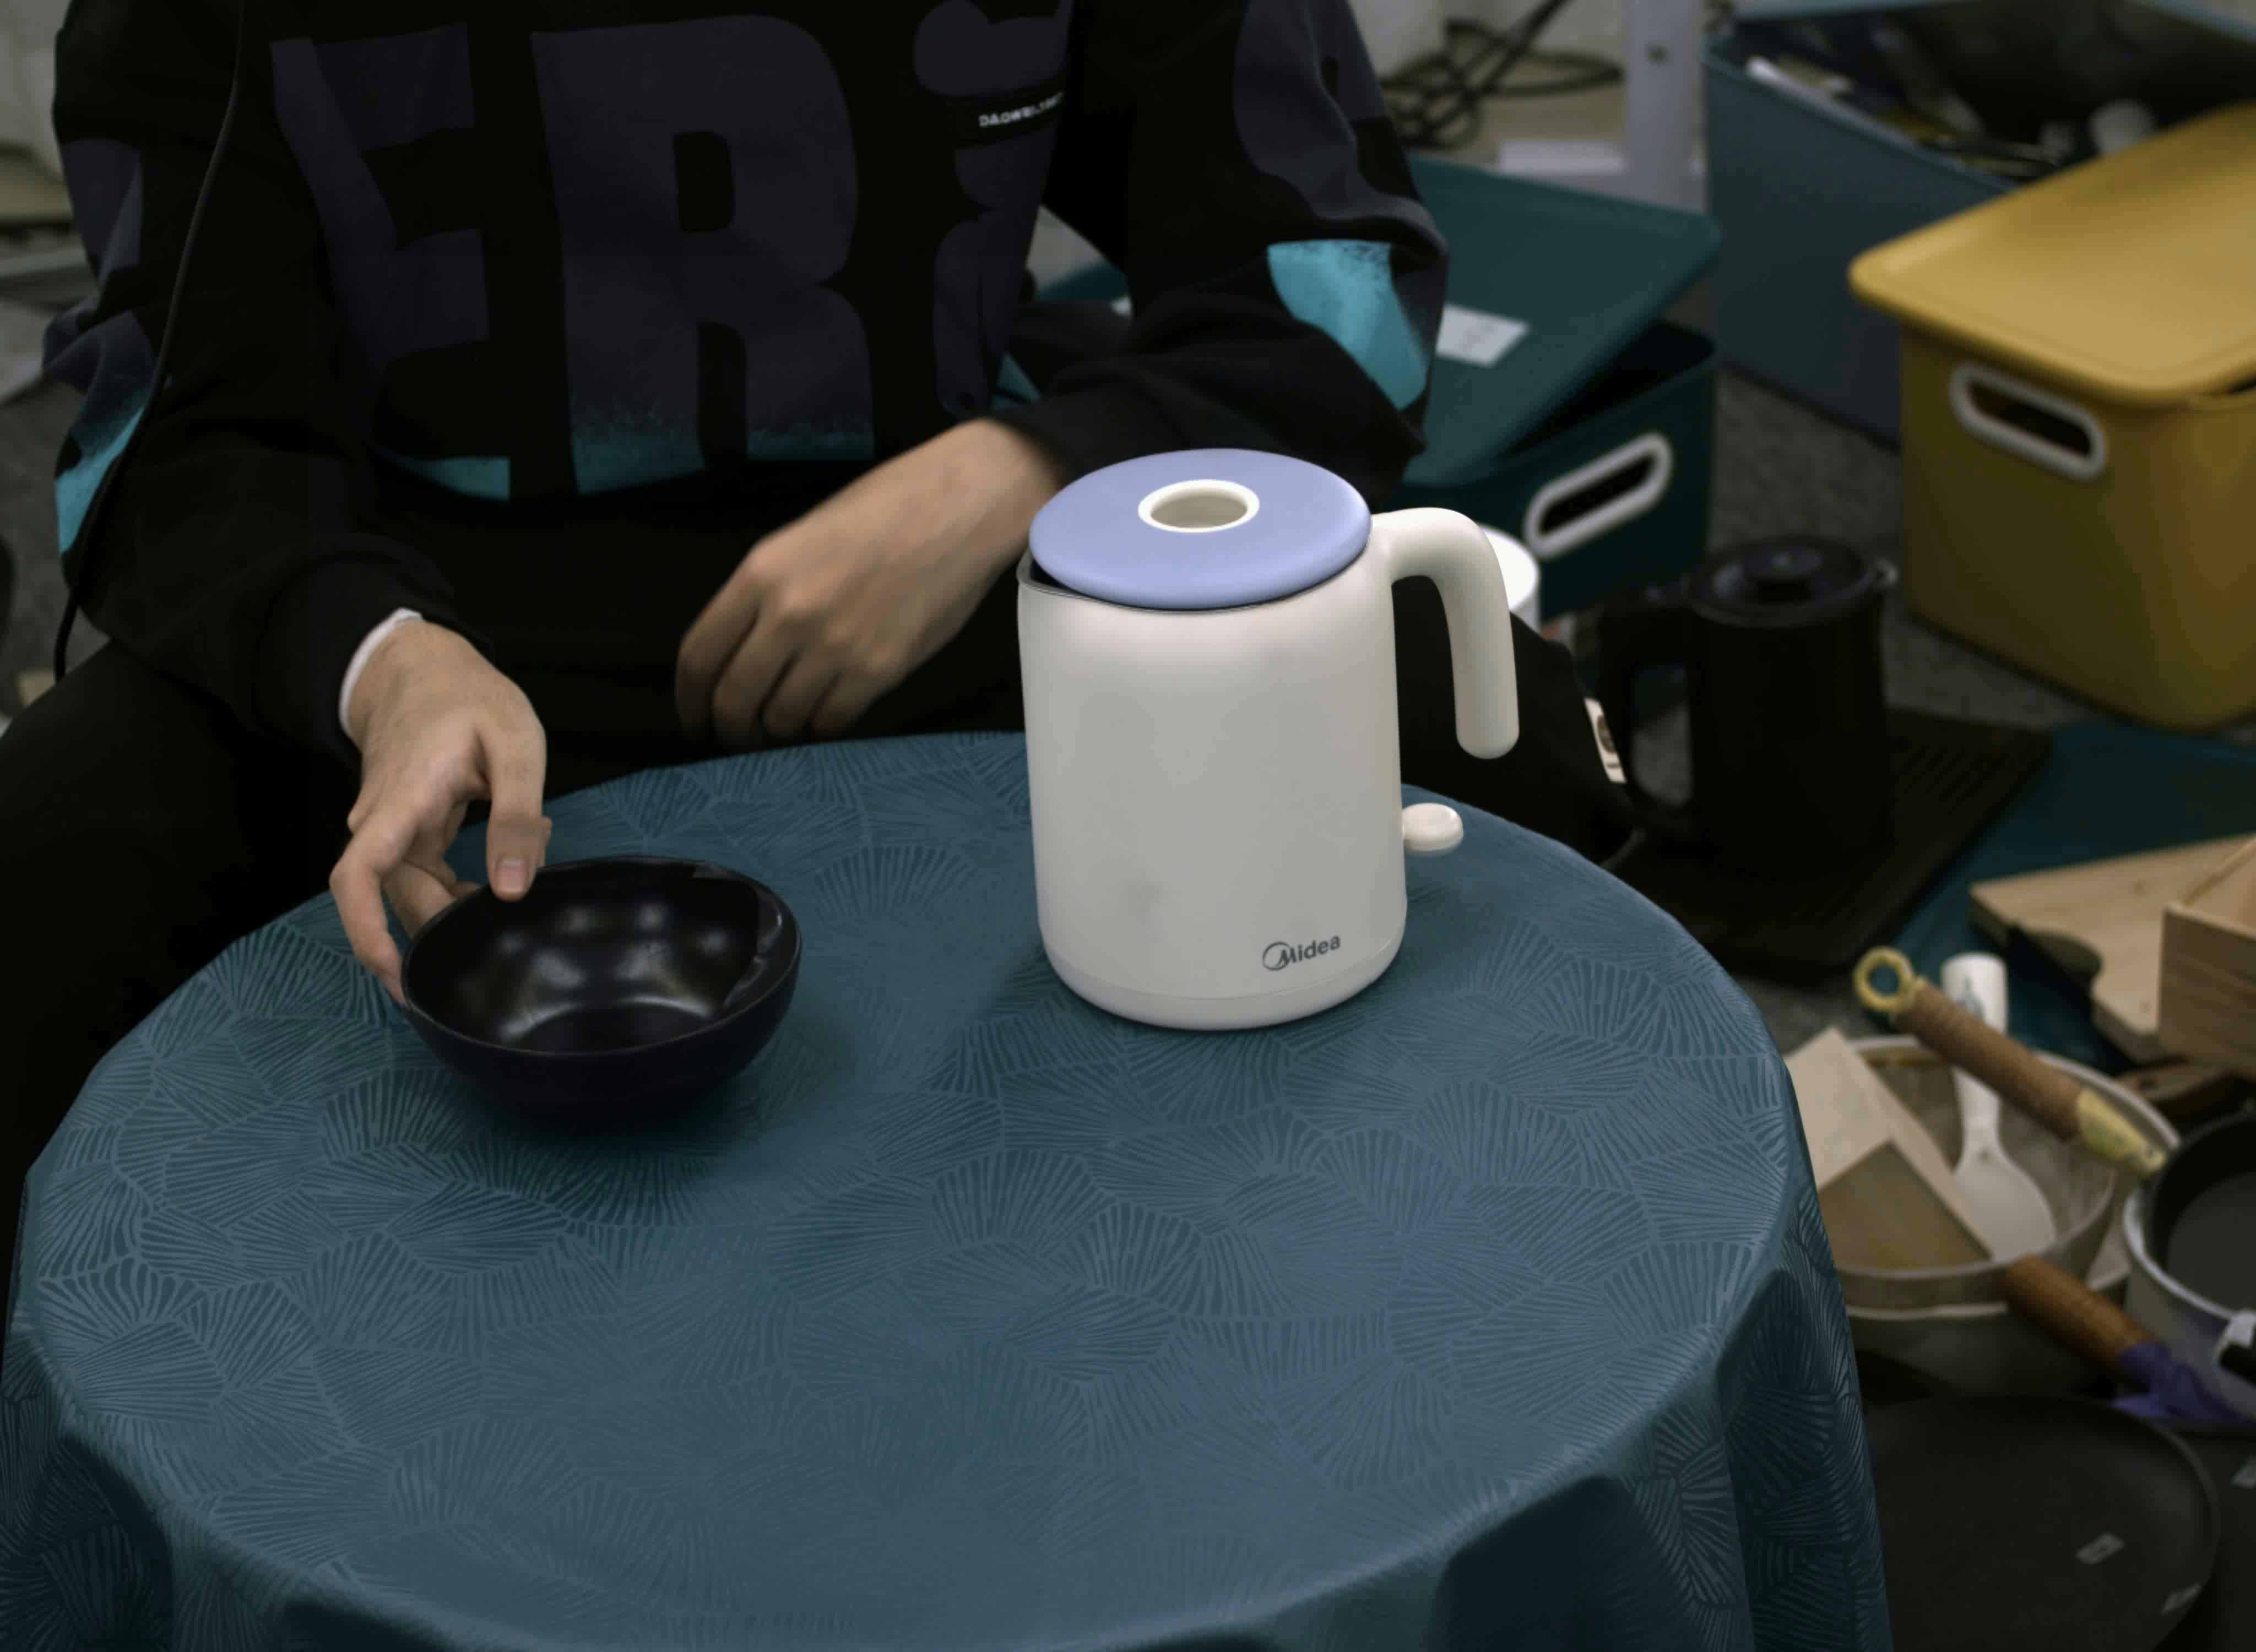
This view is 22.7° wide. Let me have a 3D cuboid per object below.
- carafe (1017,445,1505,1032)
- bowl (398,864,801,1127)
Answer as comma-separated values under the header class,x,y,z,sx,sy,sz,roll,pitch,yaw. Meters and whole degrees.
class,x,y,z,sx,sy,sz,roll,pitch,yaw
carafe,0.050,-0.036,1.977,0.192,0.180,0.133,-13,29,-24
bowl,-0.179,0.066,1.934,0.139,0.049,0.142,-3,25,2
